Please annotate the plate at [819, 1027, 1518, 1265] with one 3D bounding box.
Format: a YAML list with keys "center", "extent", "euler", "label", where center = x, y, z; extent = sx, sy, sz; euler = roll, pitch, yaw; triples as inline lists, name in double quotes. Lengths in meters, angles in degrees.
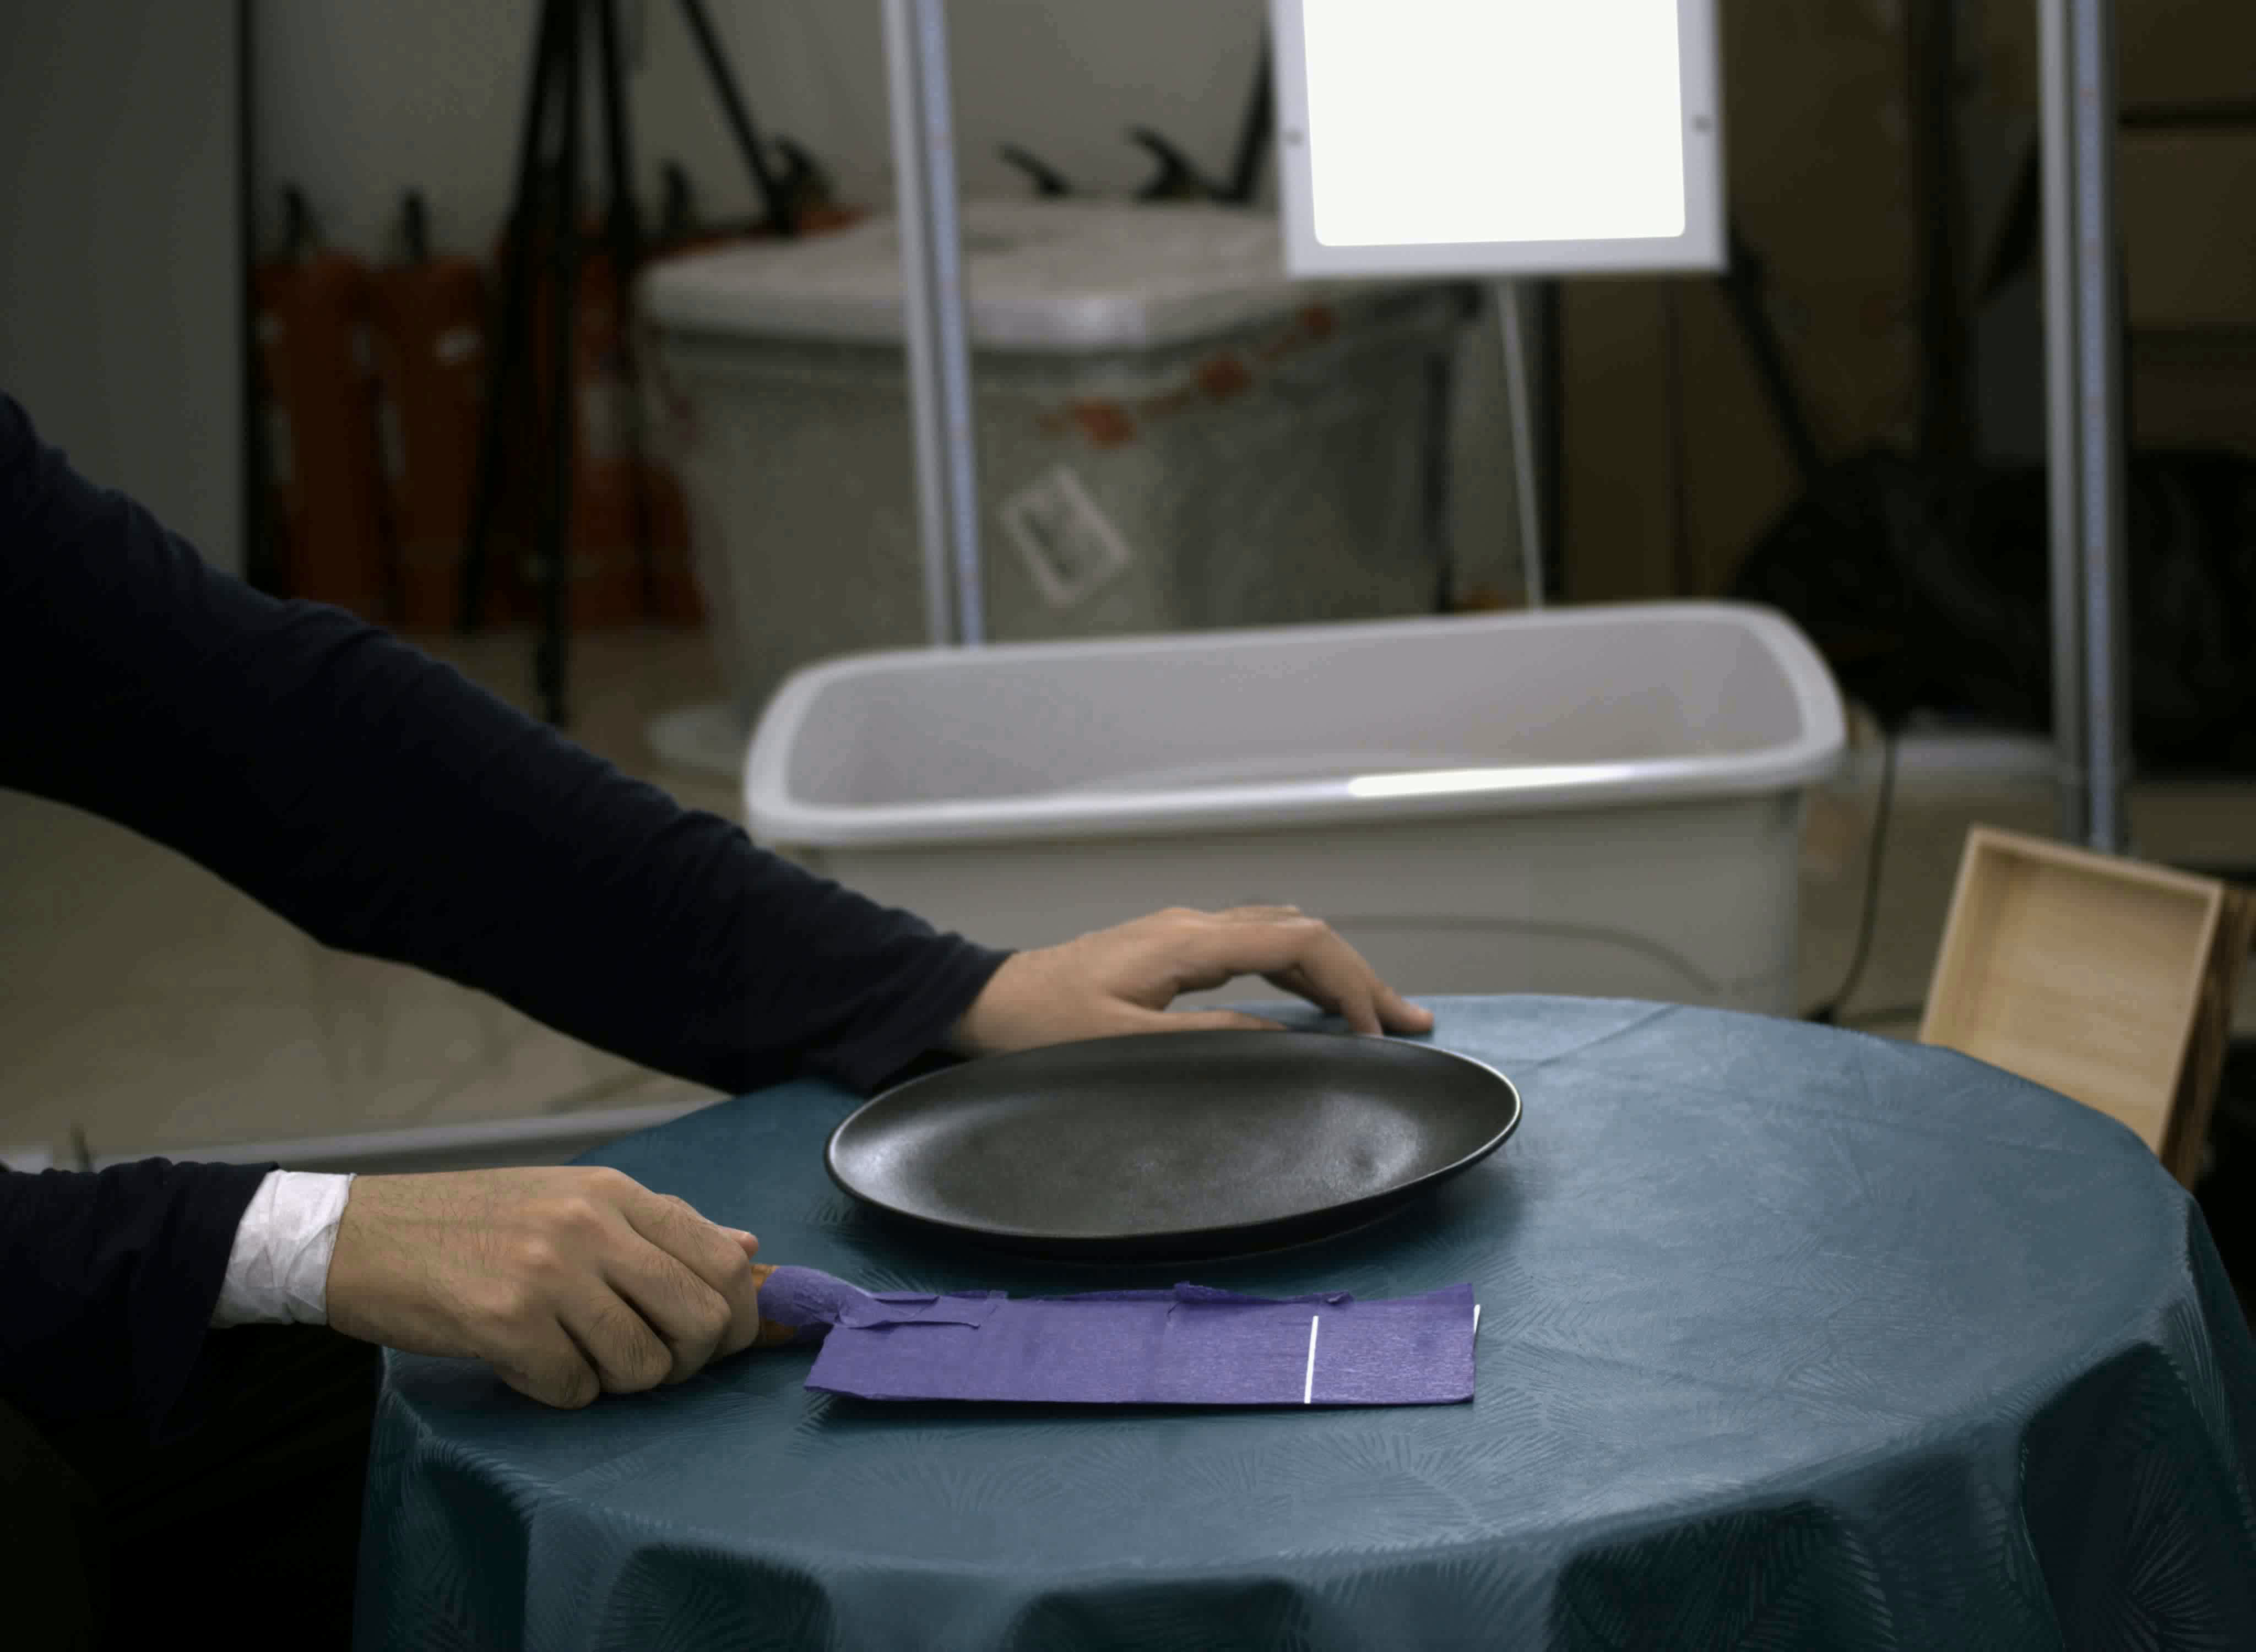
- center: [0.015, 0.113, 1.905]
  extent: [0.244, 0.023, 0.244]
  euler: [-5, 14, 0]
  label: "plate"

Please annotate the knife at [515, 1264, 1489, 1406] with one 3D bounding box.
- center: [-0.044, 0.159, 1.730]
  extent: [0.316, 0.032, 0.103]
  euler: [-3, 14, 9]
  label: "knife"
